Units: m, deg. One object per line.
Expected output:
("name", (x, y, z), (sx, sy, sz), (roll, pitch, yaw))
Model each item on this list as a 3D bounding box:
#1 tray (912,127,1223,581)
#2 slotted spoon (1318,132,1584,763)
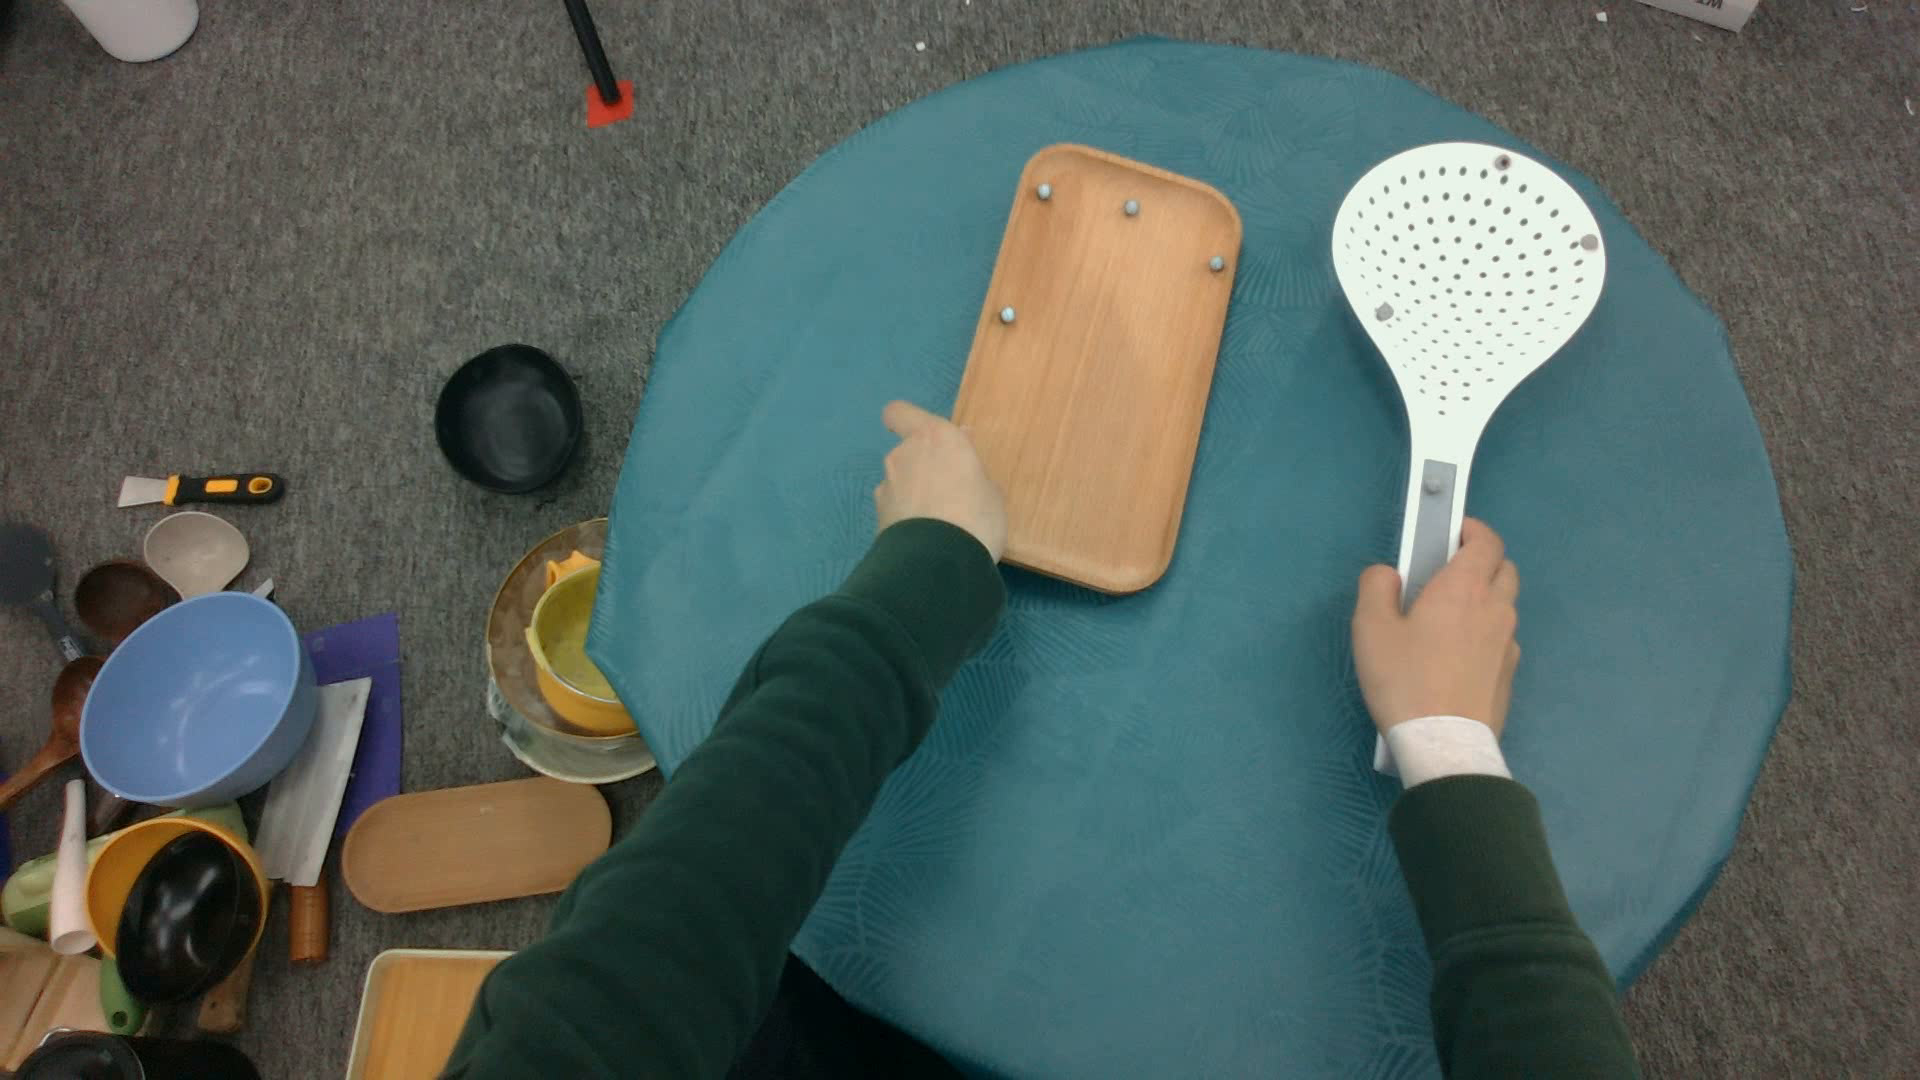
("tray", (0.061, -0.103, 0.724), (0.130, 0.023, 0.251), (16, 69, -3))
("slotted spoon", (0.232, -0.059, 0.685), (0.136, 0.045, 0.351), (11, 63, 8))
